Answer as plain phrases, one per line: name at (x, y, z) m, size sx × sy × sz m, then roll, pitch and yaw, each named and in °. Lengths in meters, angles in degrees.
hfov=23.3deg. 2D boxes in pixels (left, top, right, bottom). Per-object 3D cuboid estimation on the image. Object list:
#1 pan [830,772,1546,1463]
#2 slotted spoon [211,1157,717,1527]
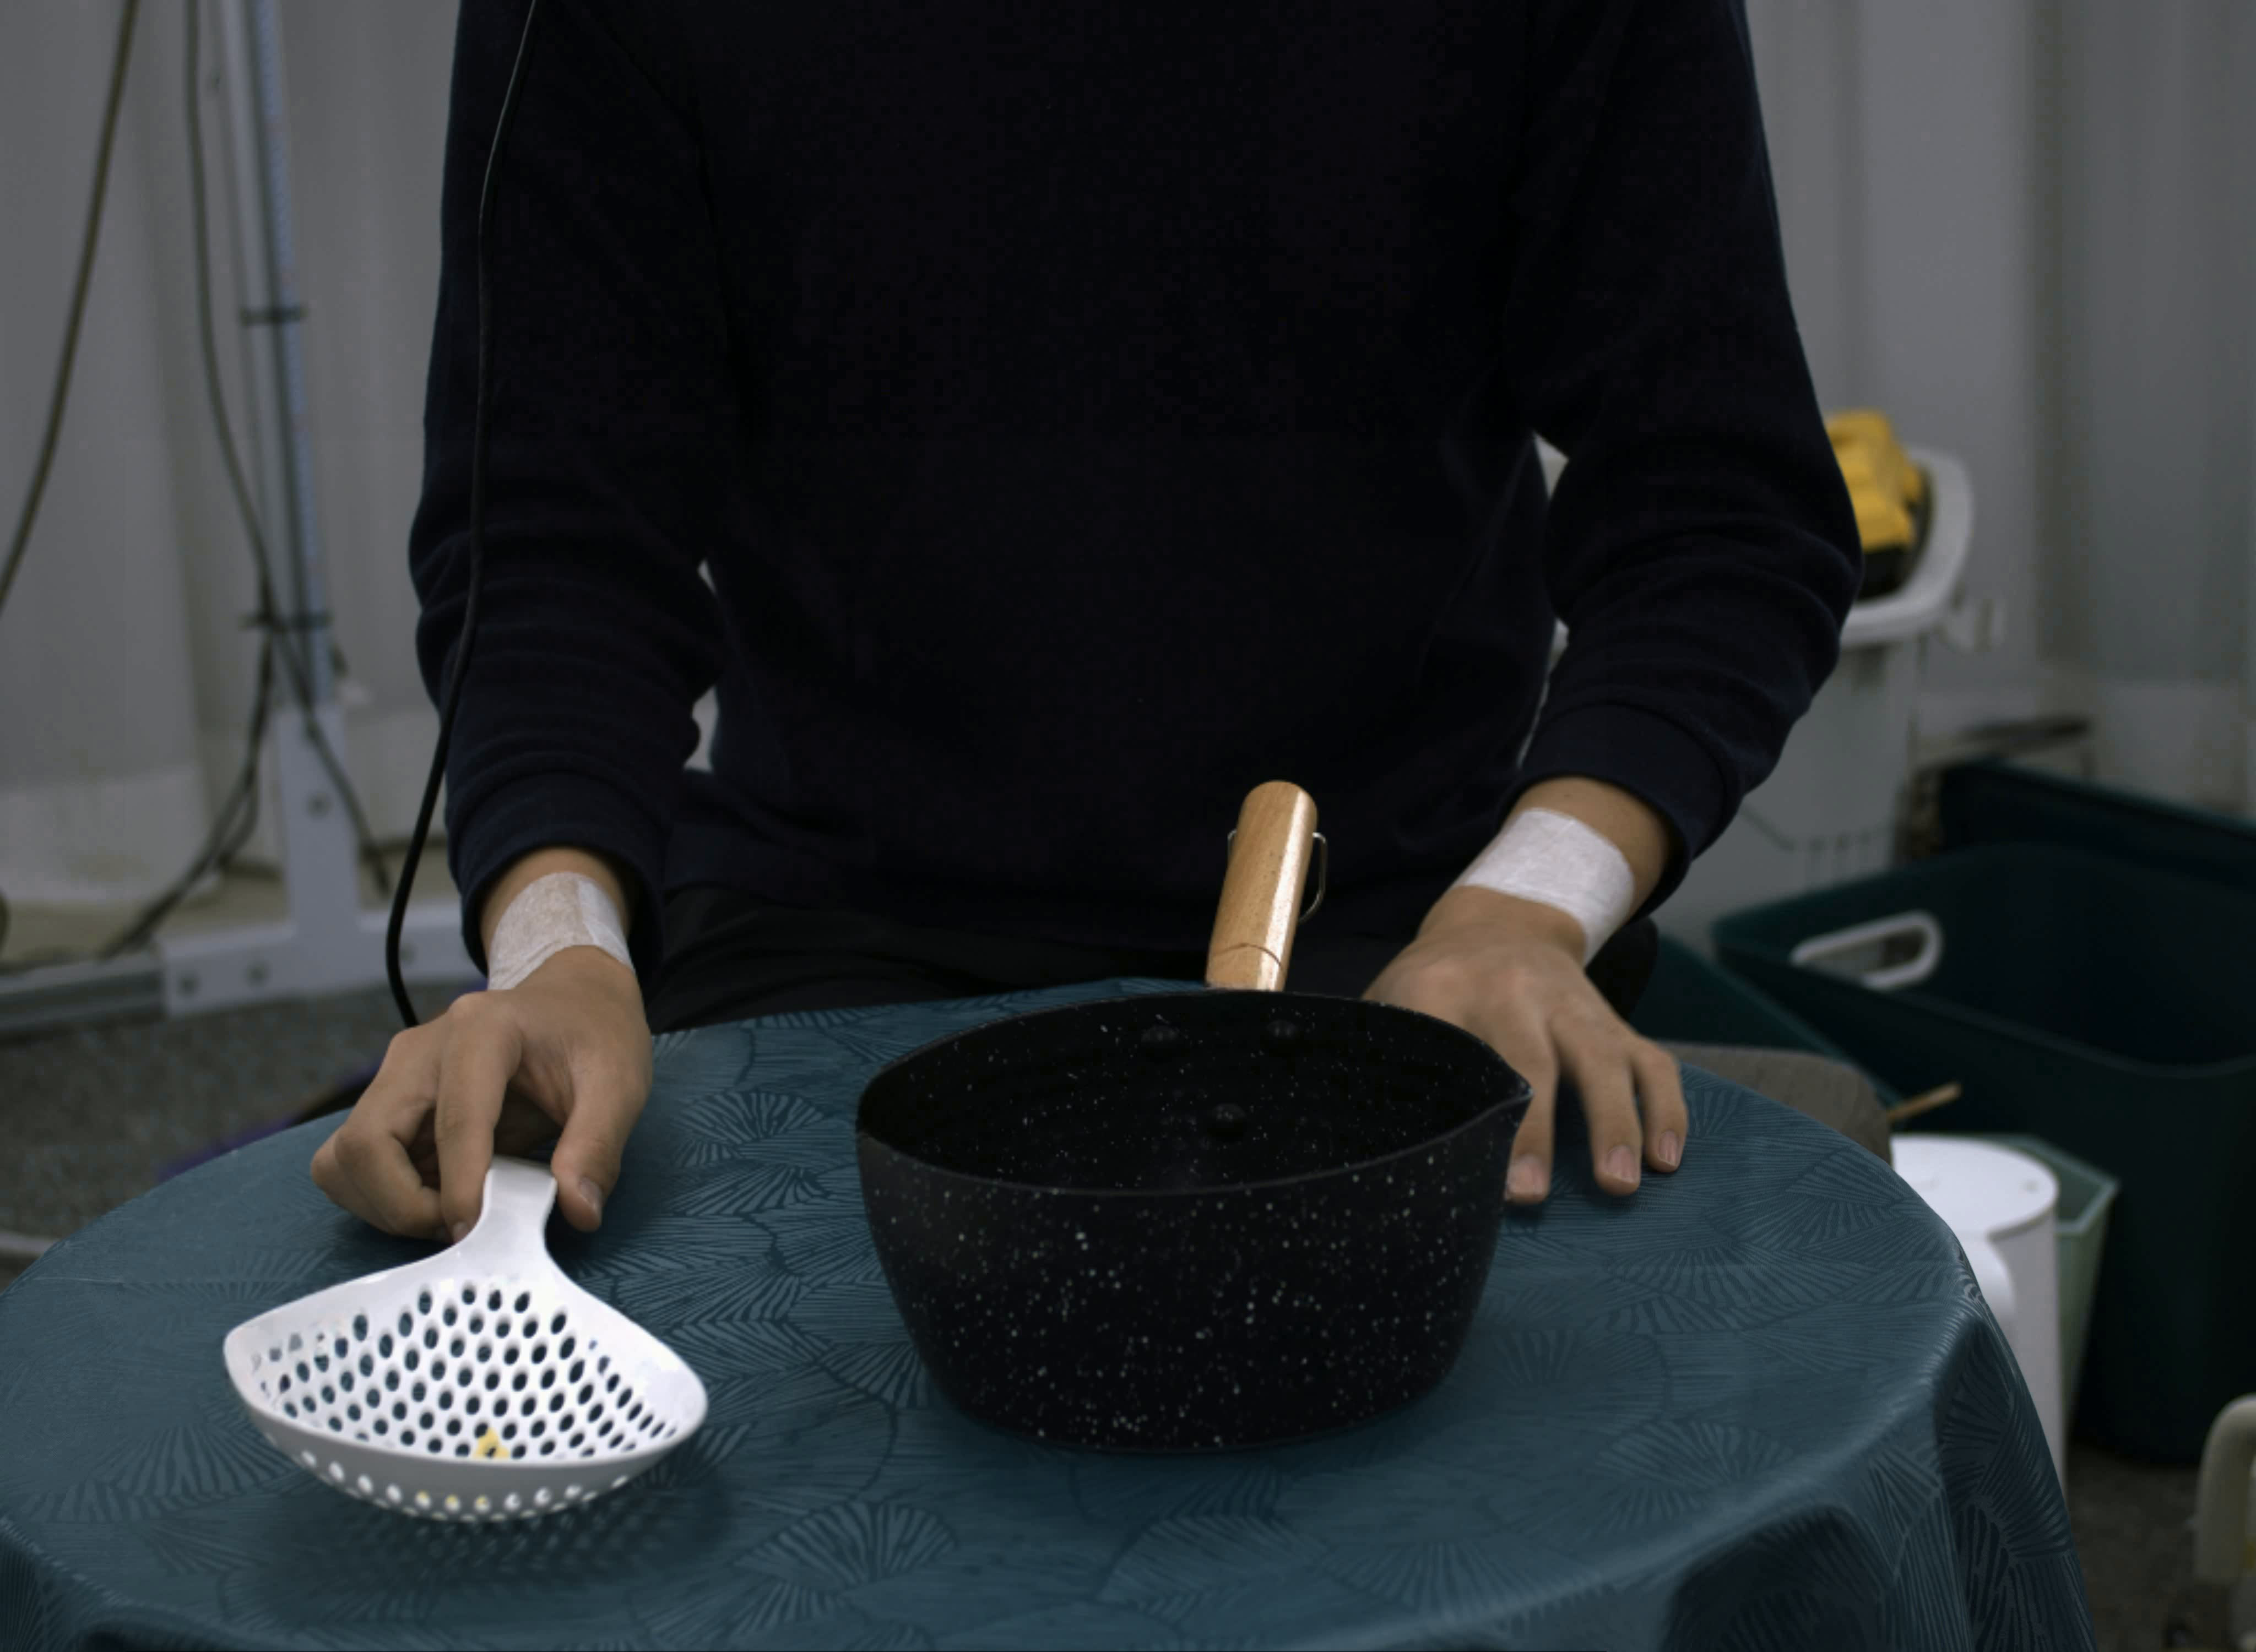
pan at (0.026, 0.081, 1.627) m, size 0.207 × 0.108 × 0.345 m, roll -2°, pitch 16°, yaw 8°
slotted spoon at (-0.186, 0.136, 1.588) m, size 0.136 × 0.050 × 0.350 m, roll 5°, pitch 16°, yaw -4°
